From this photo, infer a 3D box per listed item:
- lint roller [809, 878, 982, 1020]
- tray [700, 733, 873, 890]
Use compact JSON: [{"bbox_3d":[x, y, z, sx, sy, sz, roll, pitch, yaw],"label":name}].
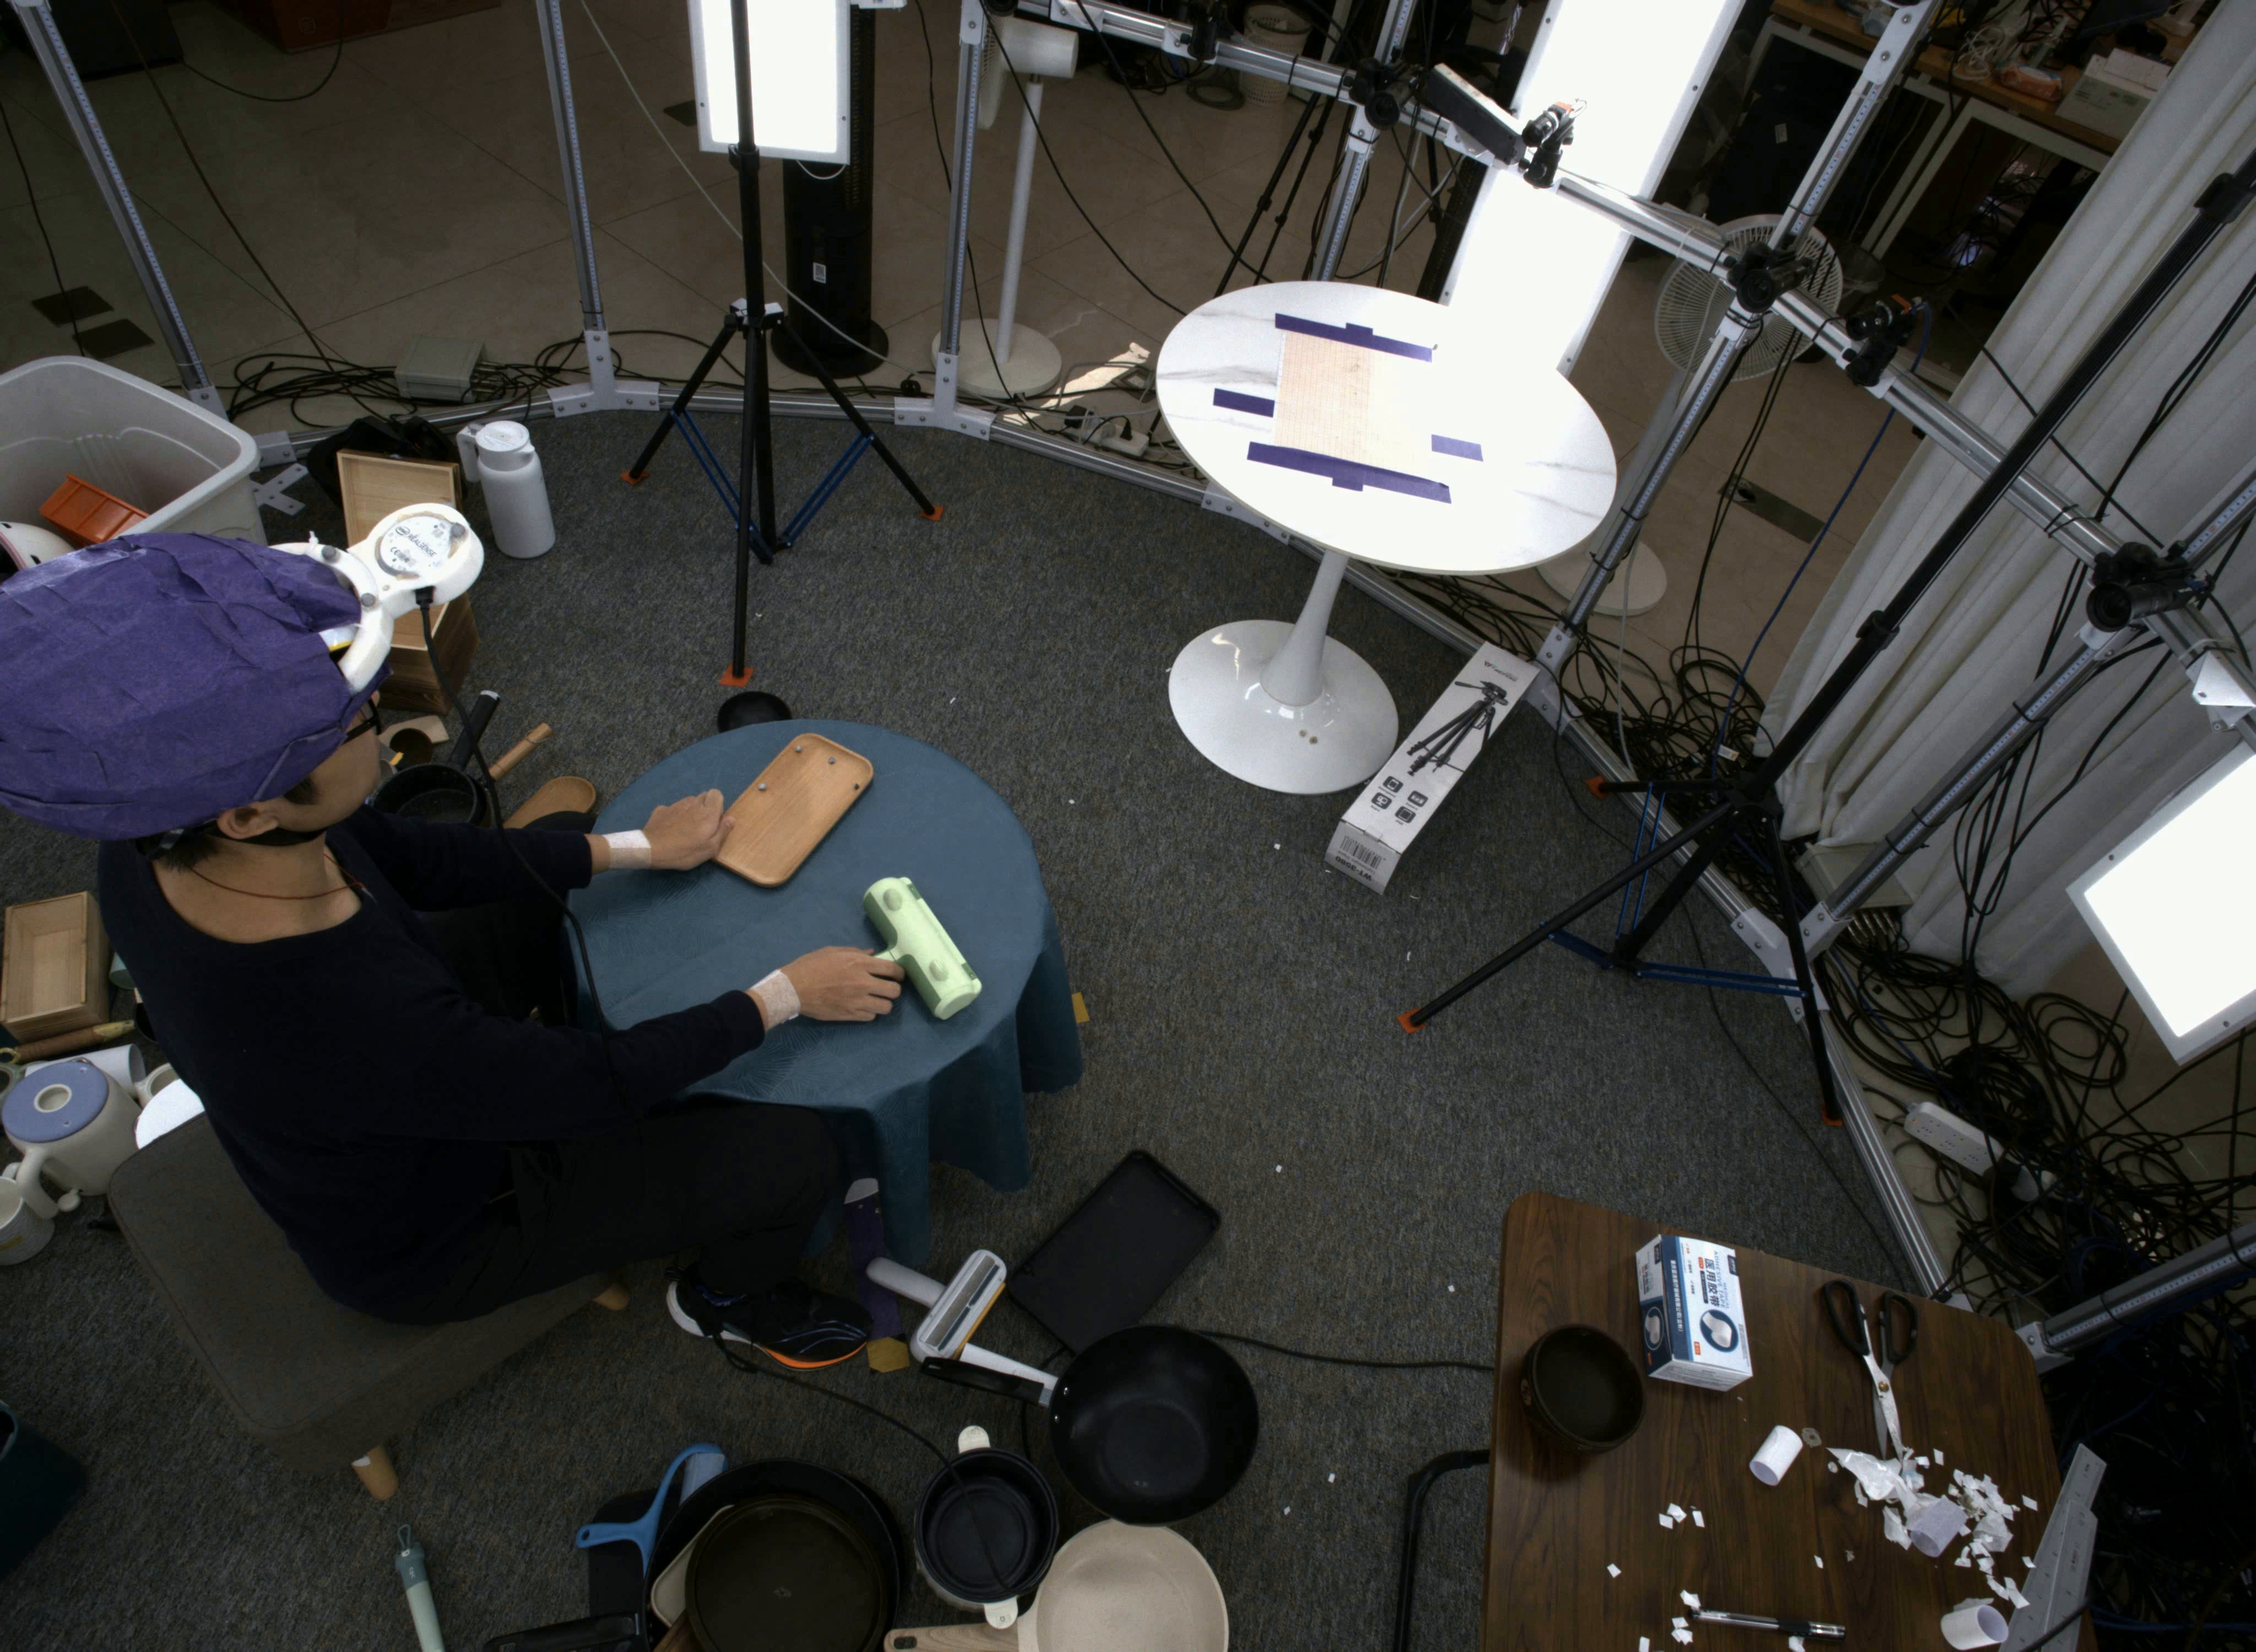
[{"bbox_3d":[-0.300,0.159,1.571,0.185,0.083,0.193,-22,61,-35],"label":"lint roller"},{"bbox_3d":[-0.448,-0.023,1.714,0.128,0.023,0.249,26,52,8],"label":"tray"}]
